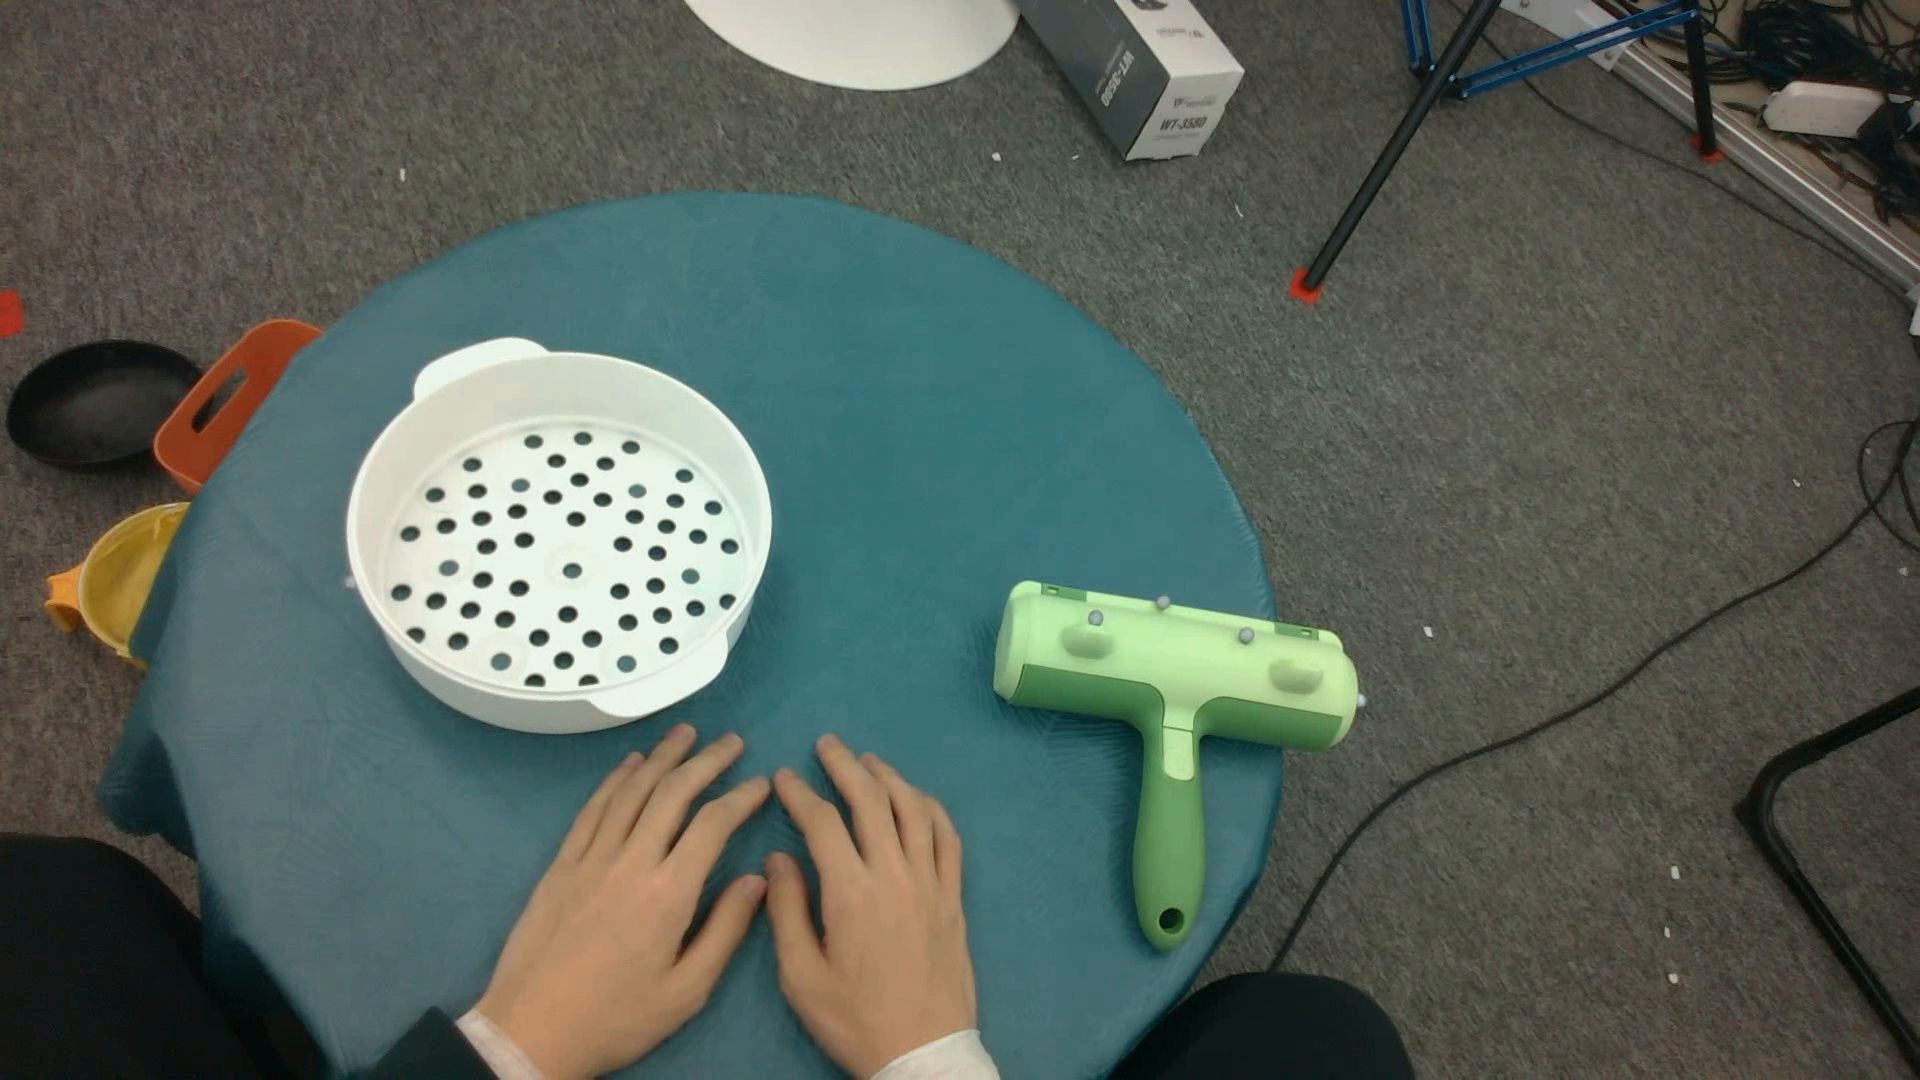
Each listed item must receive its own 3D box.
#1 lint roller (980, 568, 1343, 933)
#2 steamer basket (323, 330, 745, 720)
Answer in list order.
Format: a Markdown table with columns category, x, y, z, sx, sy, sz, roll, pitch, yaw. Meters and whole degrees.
| category | x | y | z | sx | sy | sz | roll | pitch | yaw |
| --- | --- | --- | --- | --- | --- | --- | --- | --- | --- |
| lint roller | 0.110 | 0.105 | 0.720 | 0.199 | 0.082 | 0.184 | 9 | 54 | -9 |
| steamer basket | -0.215 | -0.005 | 0.711 | 0.202 | 0.069 | 0.231 | -28 | 68 | -27 |
